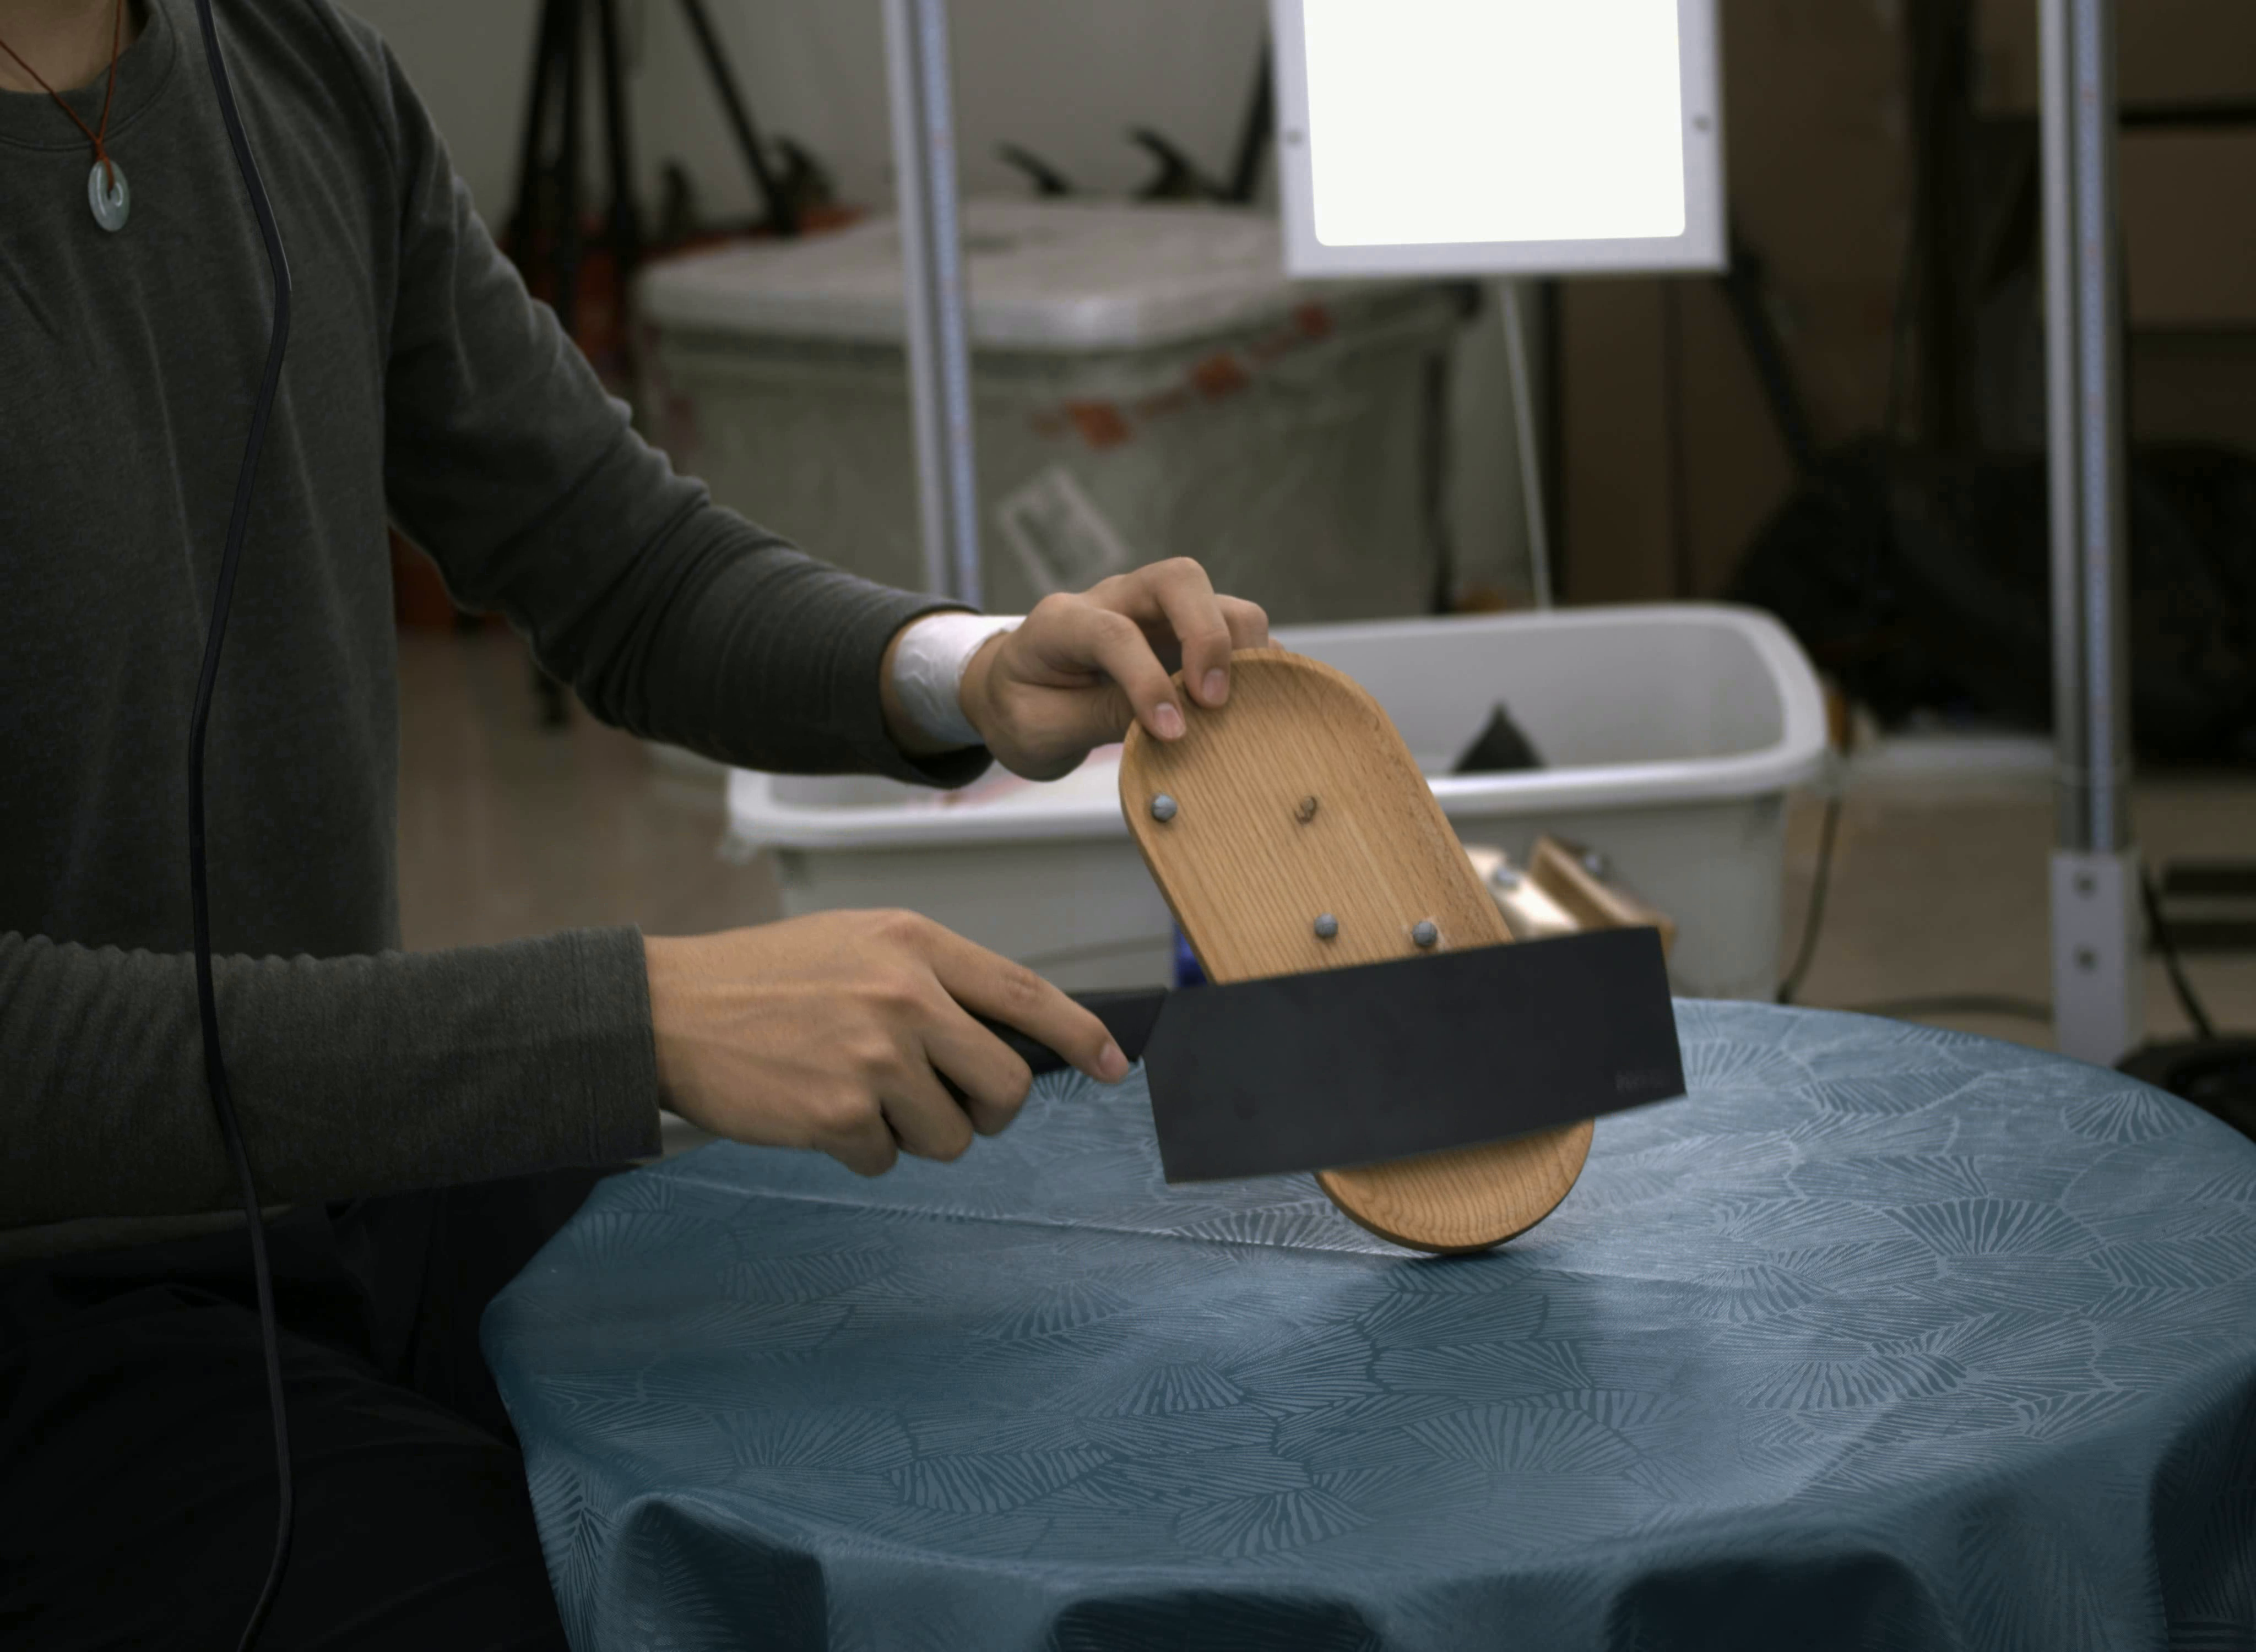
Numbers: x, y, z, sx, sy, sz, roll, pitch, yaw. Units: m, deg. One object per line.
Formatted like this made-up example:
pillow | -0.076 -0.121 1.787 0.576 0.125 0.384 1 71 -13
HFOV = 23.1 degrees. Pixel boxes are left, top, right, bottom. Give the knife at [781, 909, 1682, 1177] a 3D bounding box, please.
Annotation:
knife | 0.035 0.076 1.806 0.299 0.081 0.021 -4 -10 -7

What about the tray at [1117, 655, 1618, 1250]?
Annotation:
tray | 0.079 0.041 1.843 0.100 0.233 0.020 -27 -21 -13
